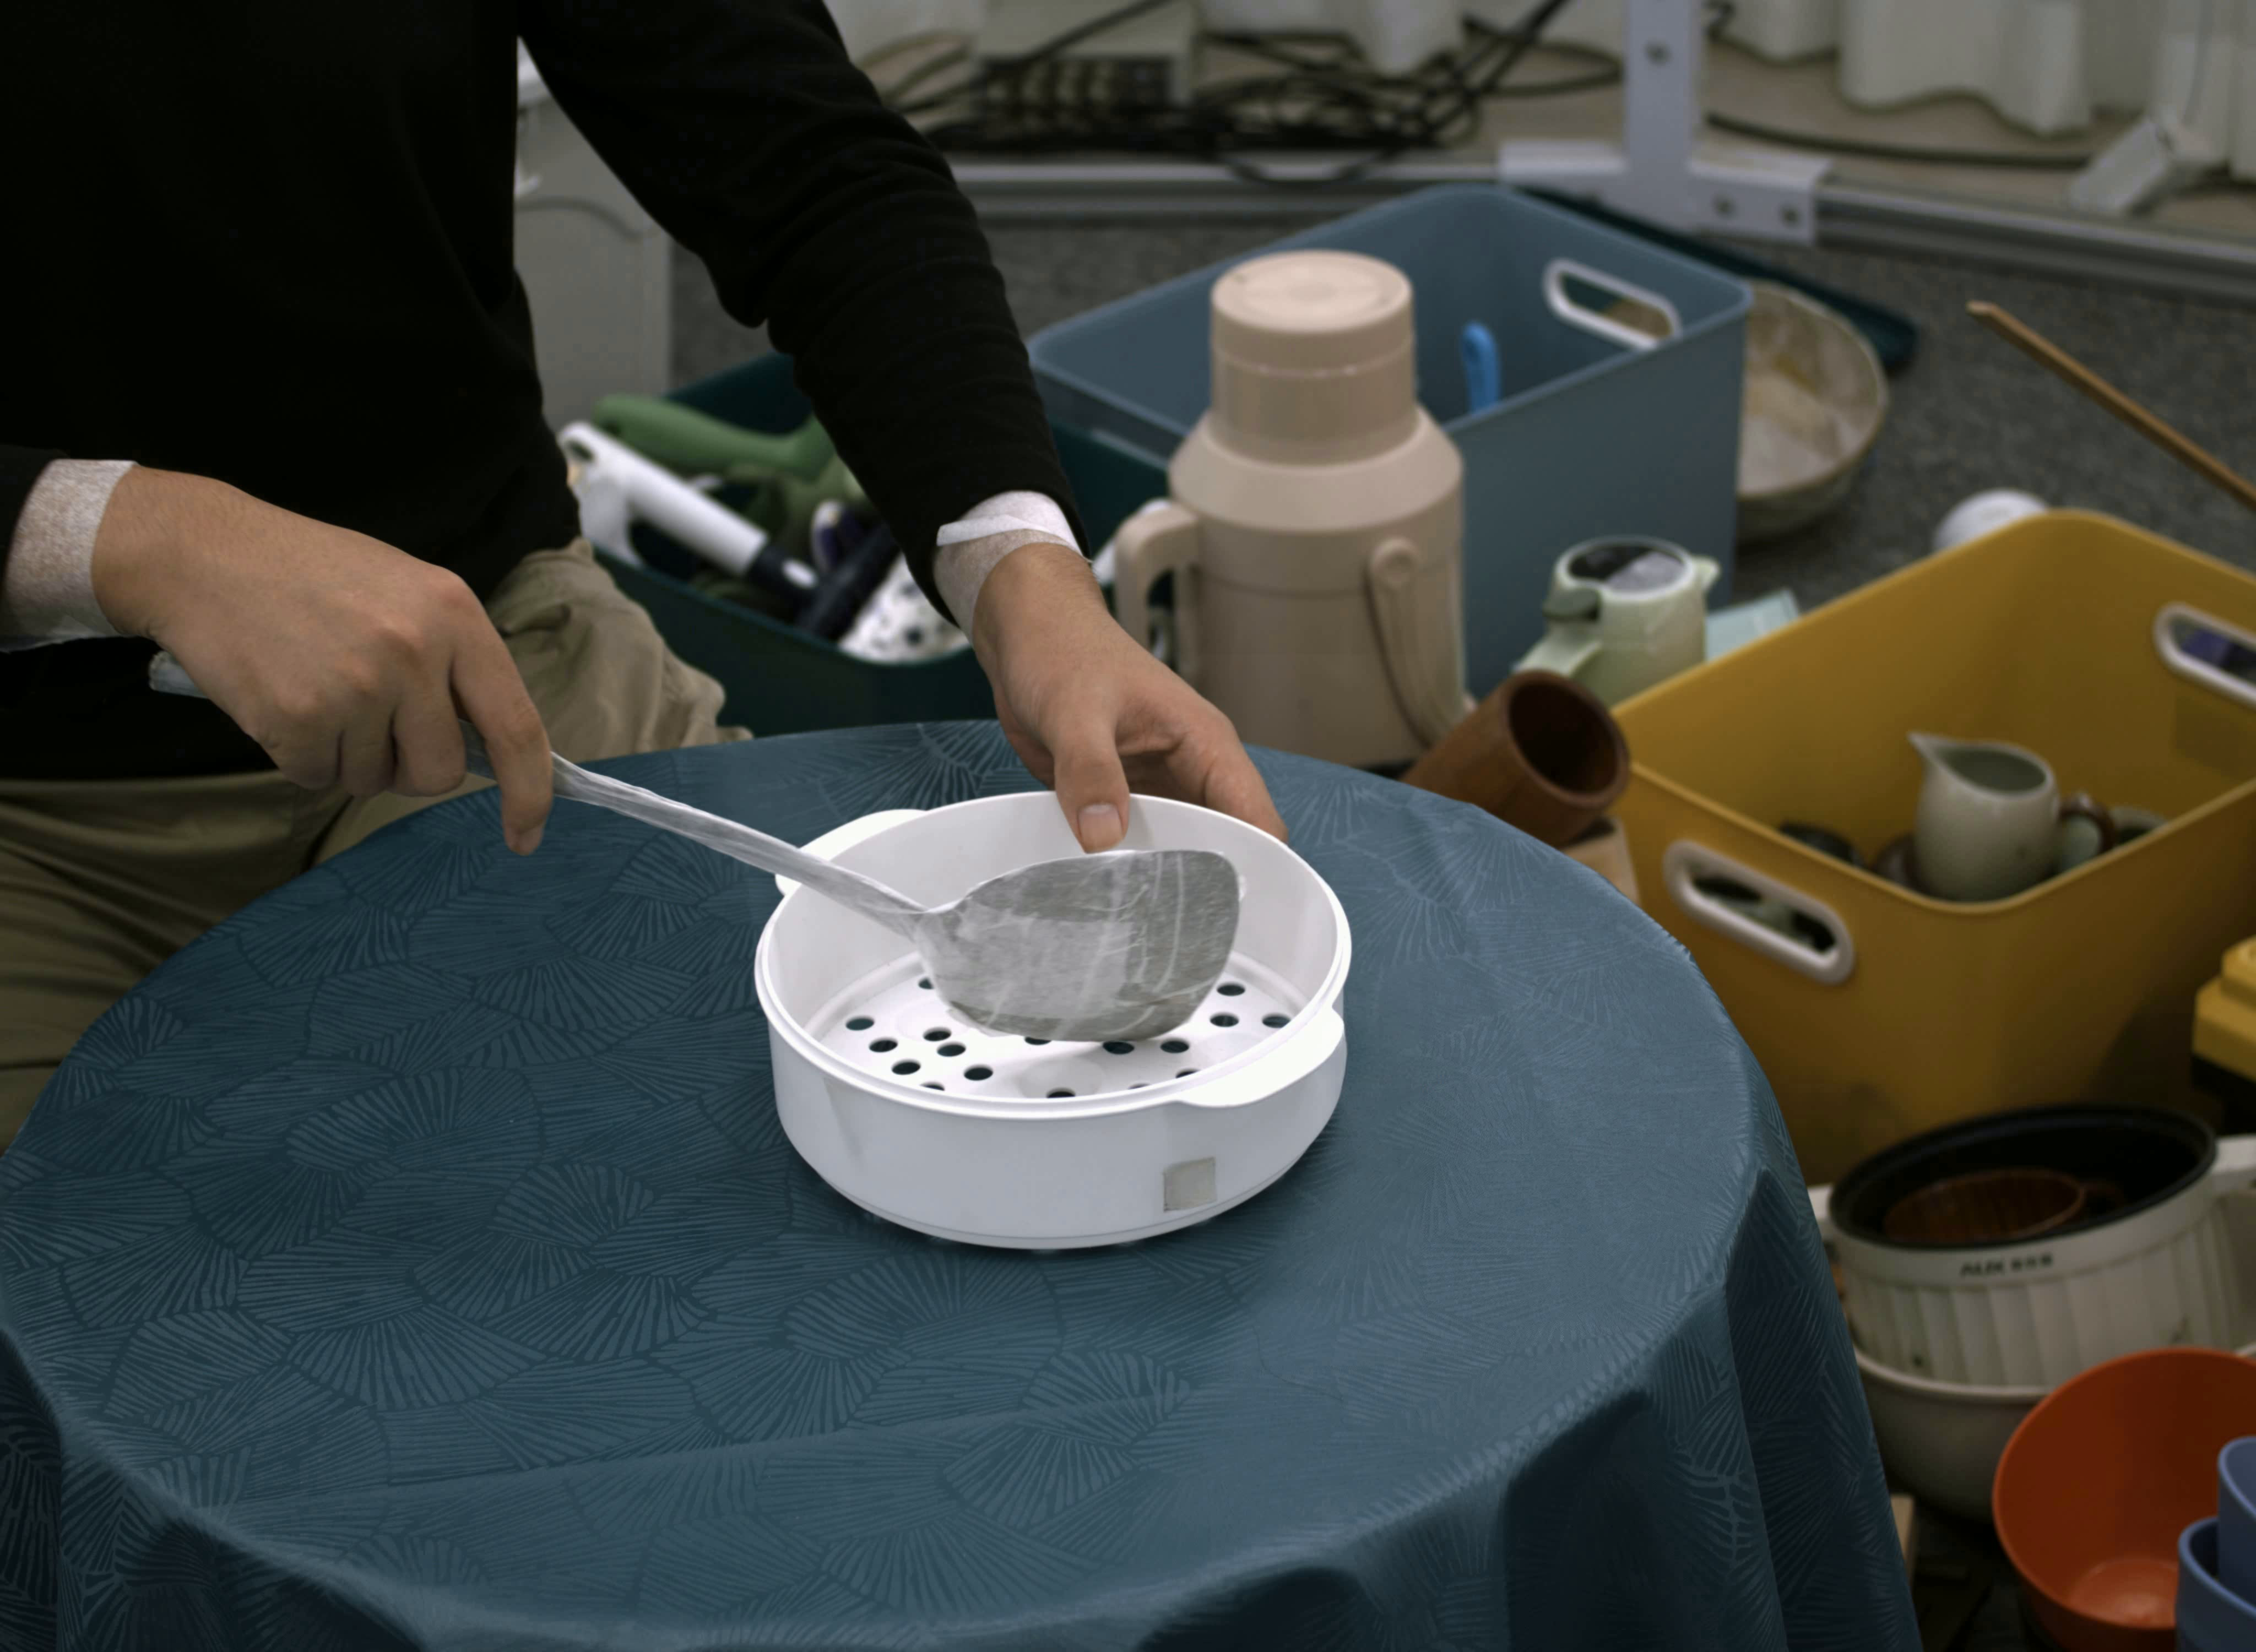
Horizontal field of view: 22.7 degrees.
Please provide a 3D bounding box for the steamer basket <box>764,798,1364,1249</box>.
[{"bbox_3d":[-0.020,0.067,1.888,0.204,0.068,0.230,-27,37,-37],"label":"steamer basket"}]

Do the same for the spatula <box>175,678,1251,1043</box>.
[{"bbox_3d":[-0.138,0.000,1.879,0.363,0.097,0.046,19,44,-1],"label":"spatula"}]
